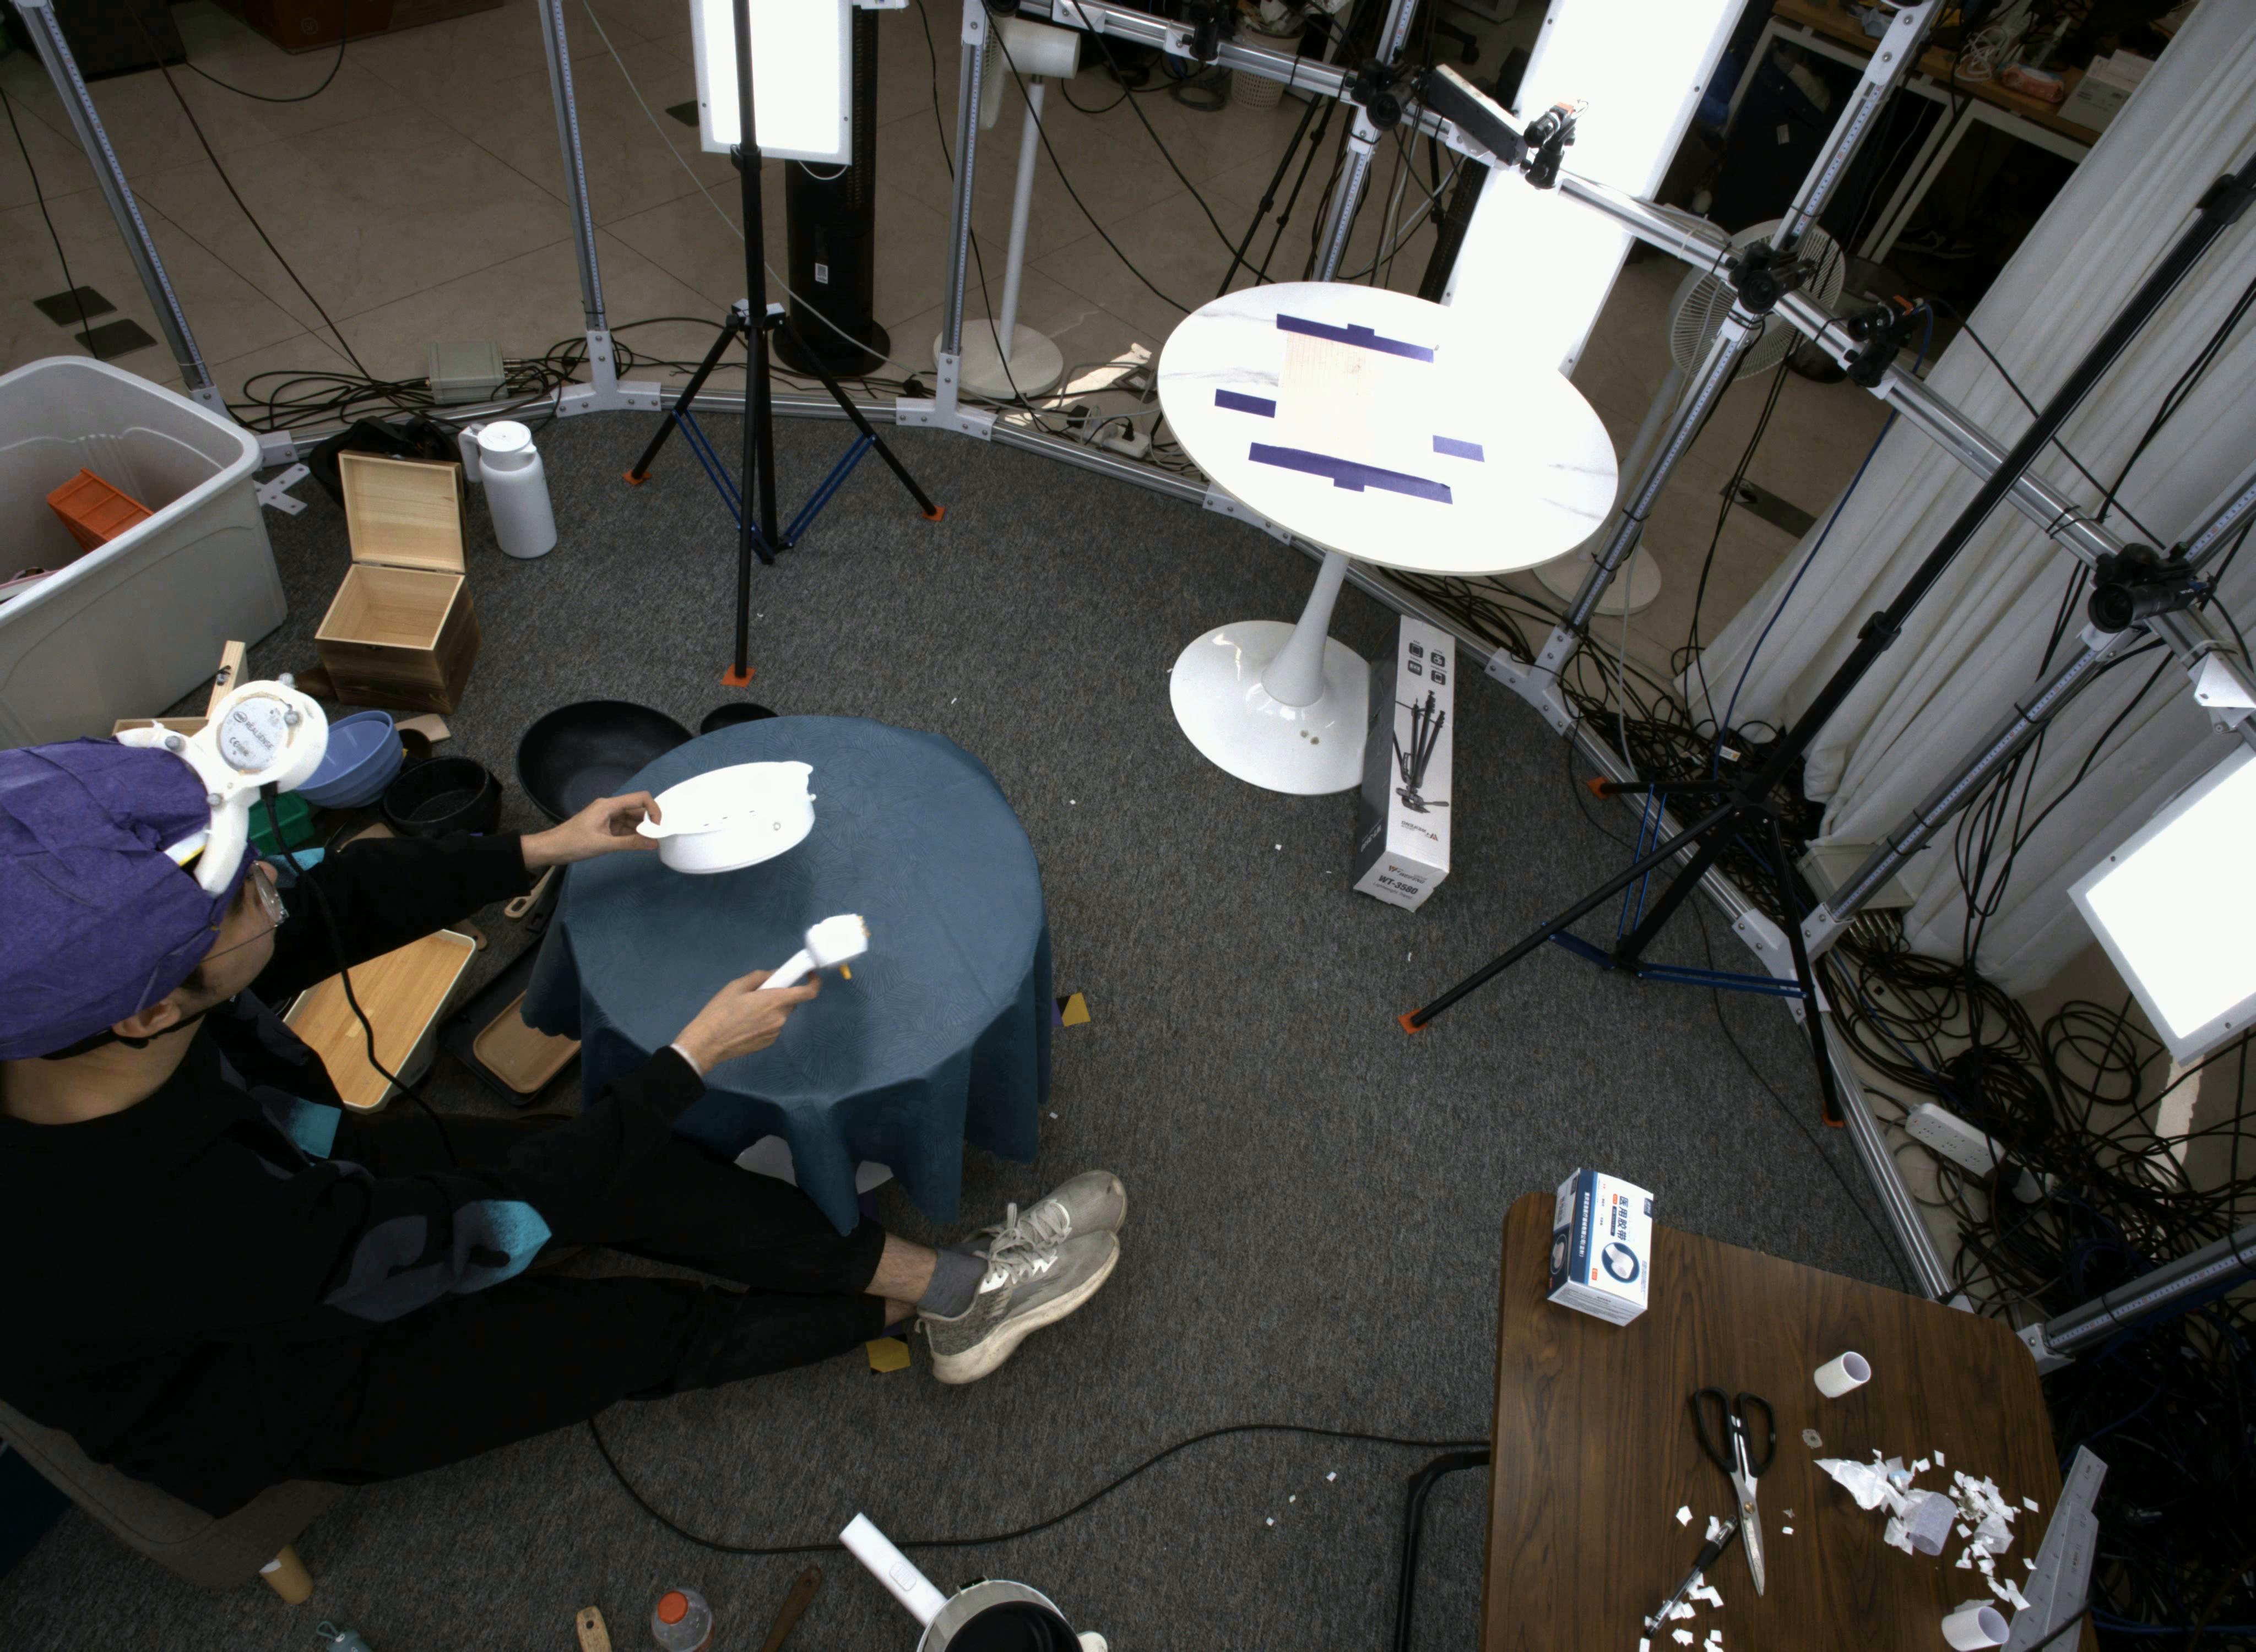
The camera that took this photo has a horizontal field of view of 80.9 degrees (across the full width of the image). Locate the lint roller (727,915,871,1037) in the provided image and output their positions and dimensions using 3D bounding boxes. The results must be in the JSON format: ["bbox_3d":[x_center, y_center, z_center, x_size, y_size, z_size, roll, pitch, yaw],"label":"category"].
[{"bbox_3d":[-0.381,0.167,1.485,0.192,0.190,0.075,-29,95,-14],"label":"lint roller"}]

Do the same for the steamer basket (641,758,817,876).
[{"bbox_3d":[-0.483,-0.011,1.592,0.194,0.071,0.231,15,36,42],"label":"steamer basket"}]
